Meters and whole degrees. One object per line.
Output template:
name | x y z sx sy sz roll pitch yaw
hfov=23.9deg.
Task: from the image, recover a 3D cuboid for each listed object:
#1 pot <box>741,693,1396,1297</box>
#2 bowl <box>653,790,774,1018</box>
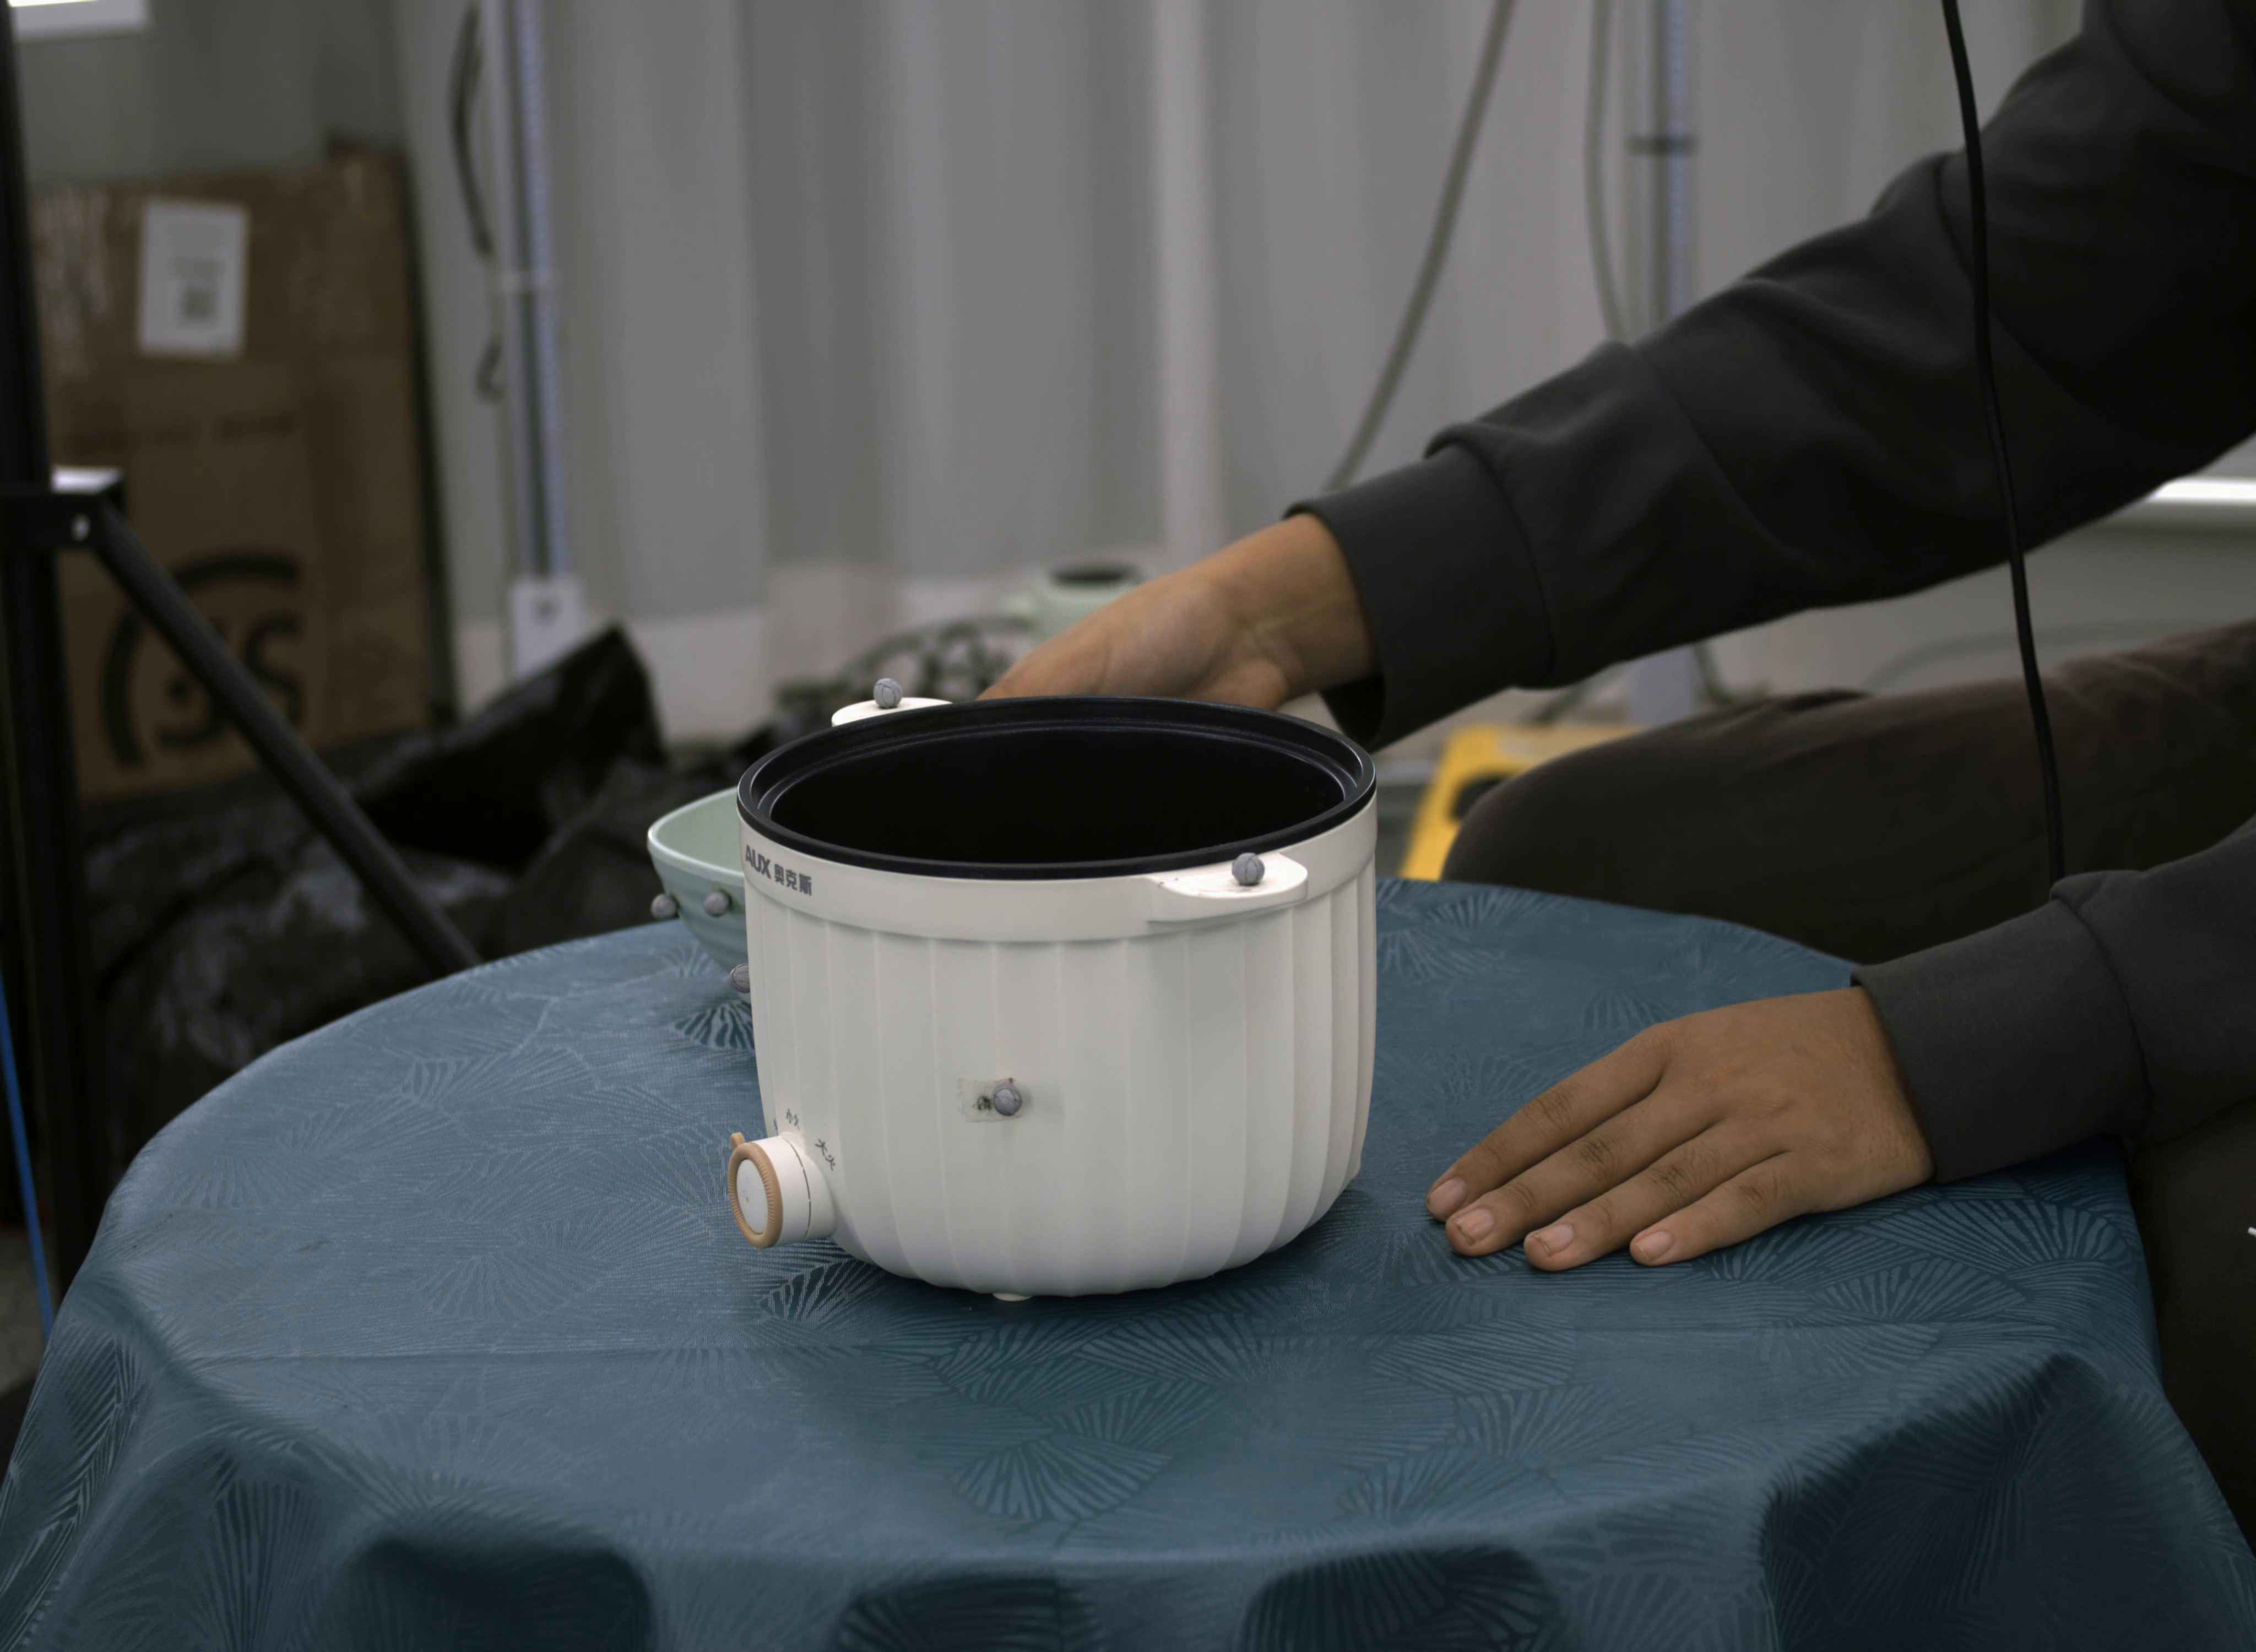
pot | -0.019 0.050 1.509 0.186 0.143 0.245 -7 14 -28
bowl | -0.078 0.028 1.749 0.151 0.058 0.152 -4 17 0
